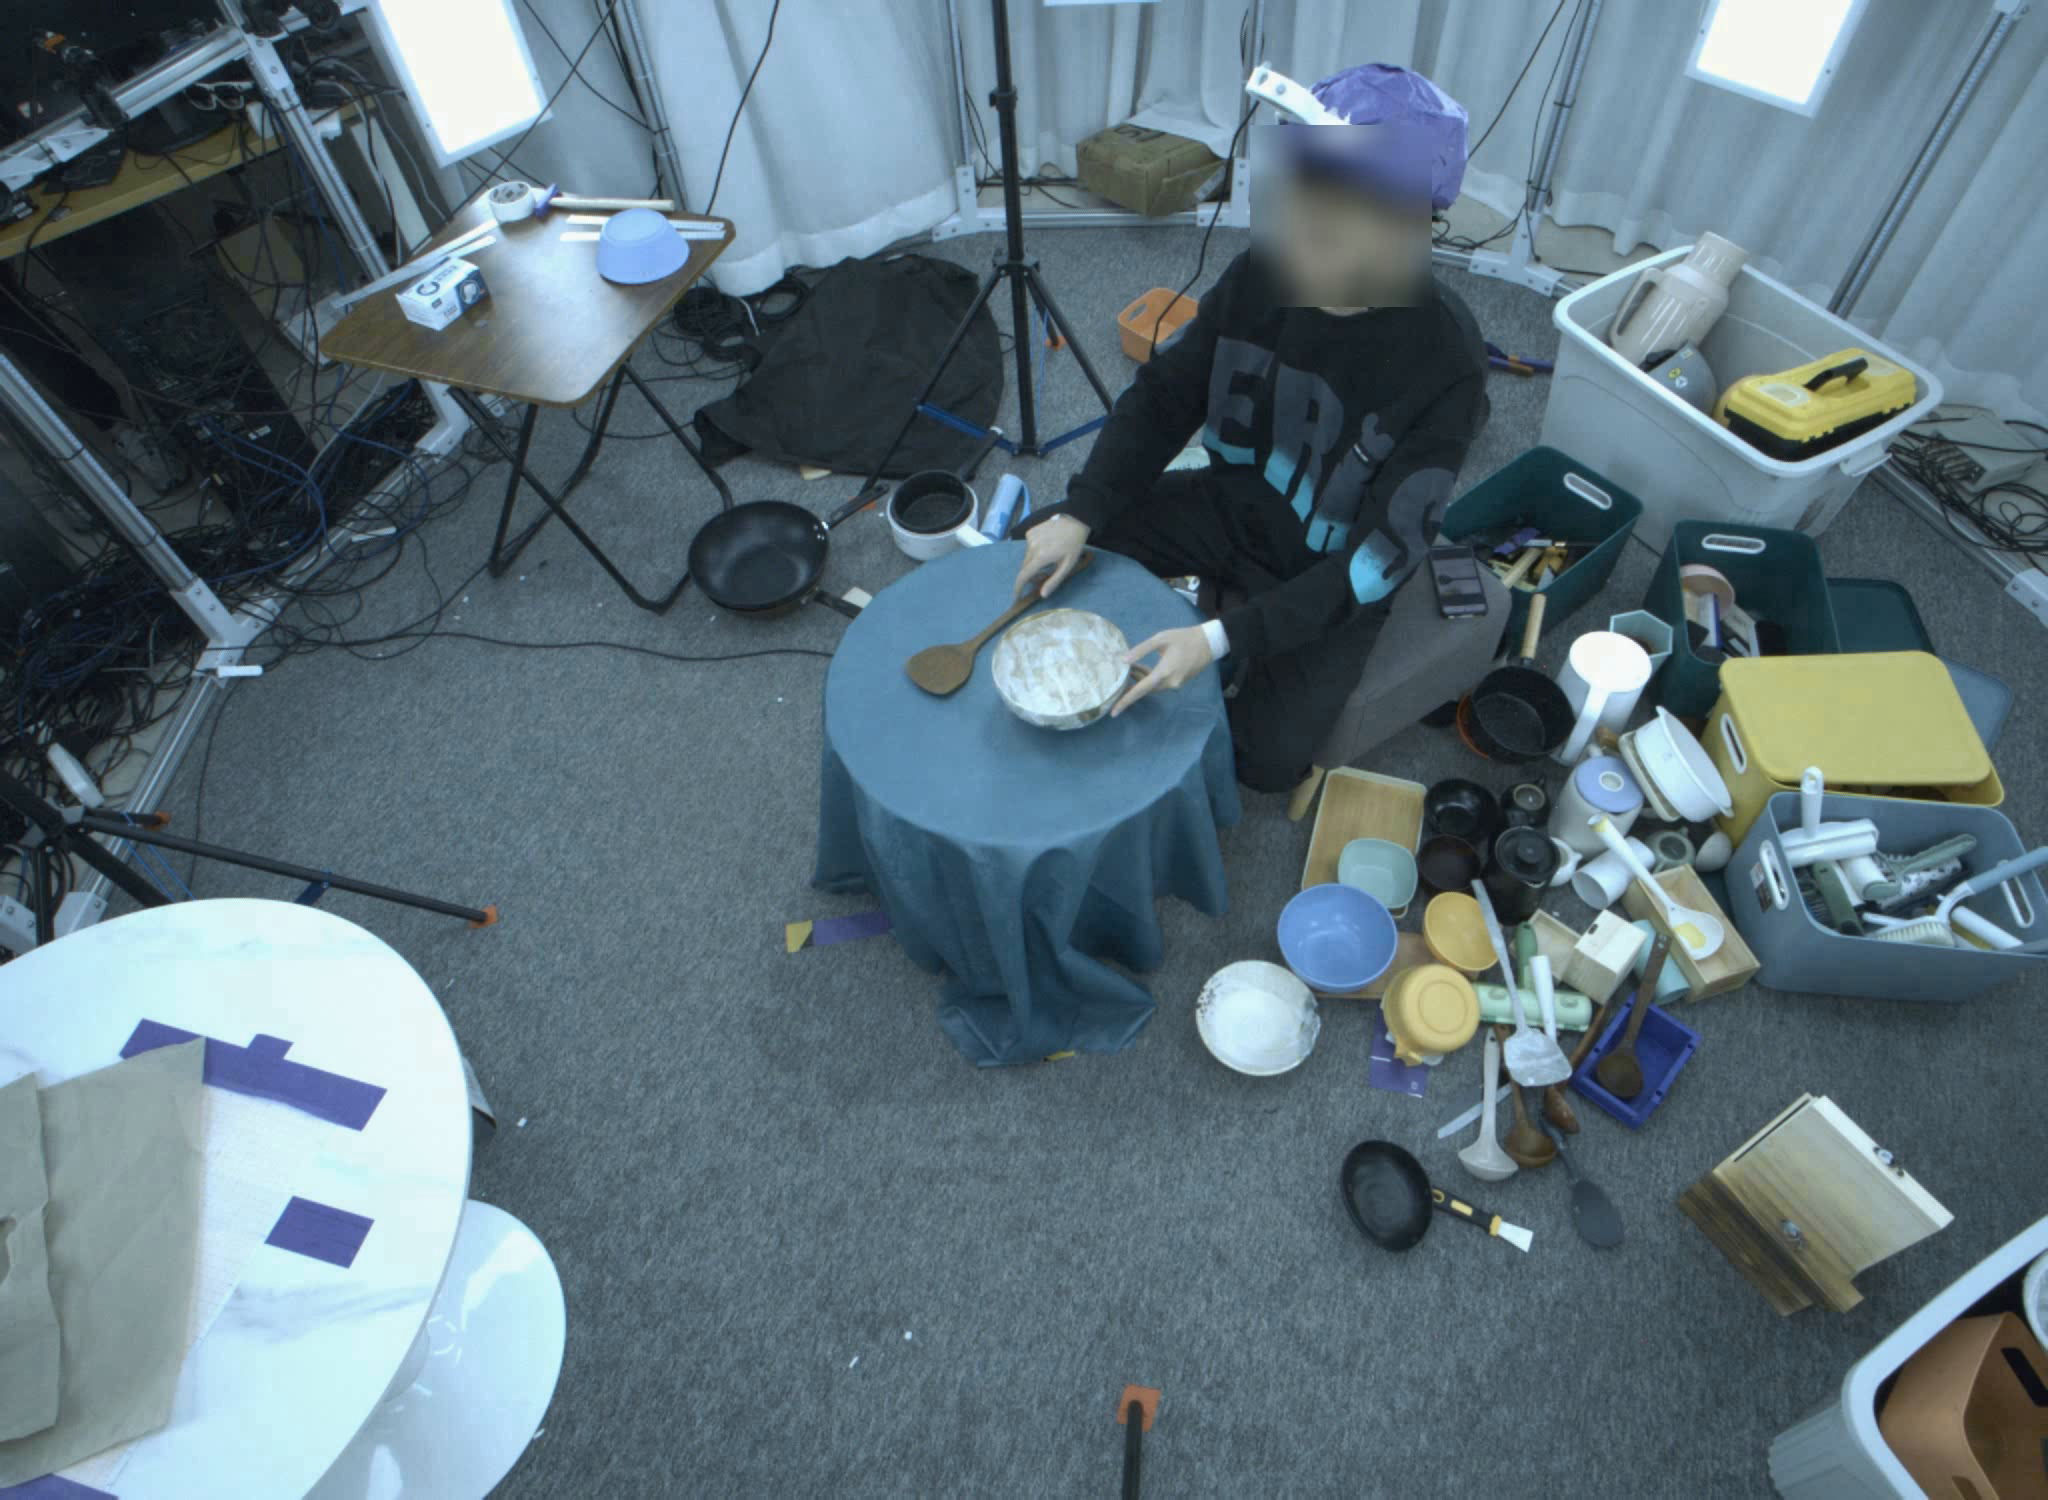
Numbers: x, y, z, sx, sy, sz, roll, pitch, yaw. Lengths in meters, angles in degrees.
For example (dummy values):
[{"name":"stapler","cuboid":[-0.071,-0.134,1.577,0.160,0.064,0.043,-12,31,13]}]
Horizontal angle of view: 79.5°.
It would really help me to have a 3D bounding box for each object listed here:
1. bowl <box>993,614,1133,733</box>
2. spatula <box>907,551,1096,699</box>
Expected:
[{"name":"bowl","cuboid":[0.061,-0.099,1.809,0.214,0.095,0.212,0,53,2]},{"name":"spatula","cuboid":[-0.023,-0.209,1.935,0.094,0.016,0.388,39,65,24]}]
